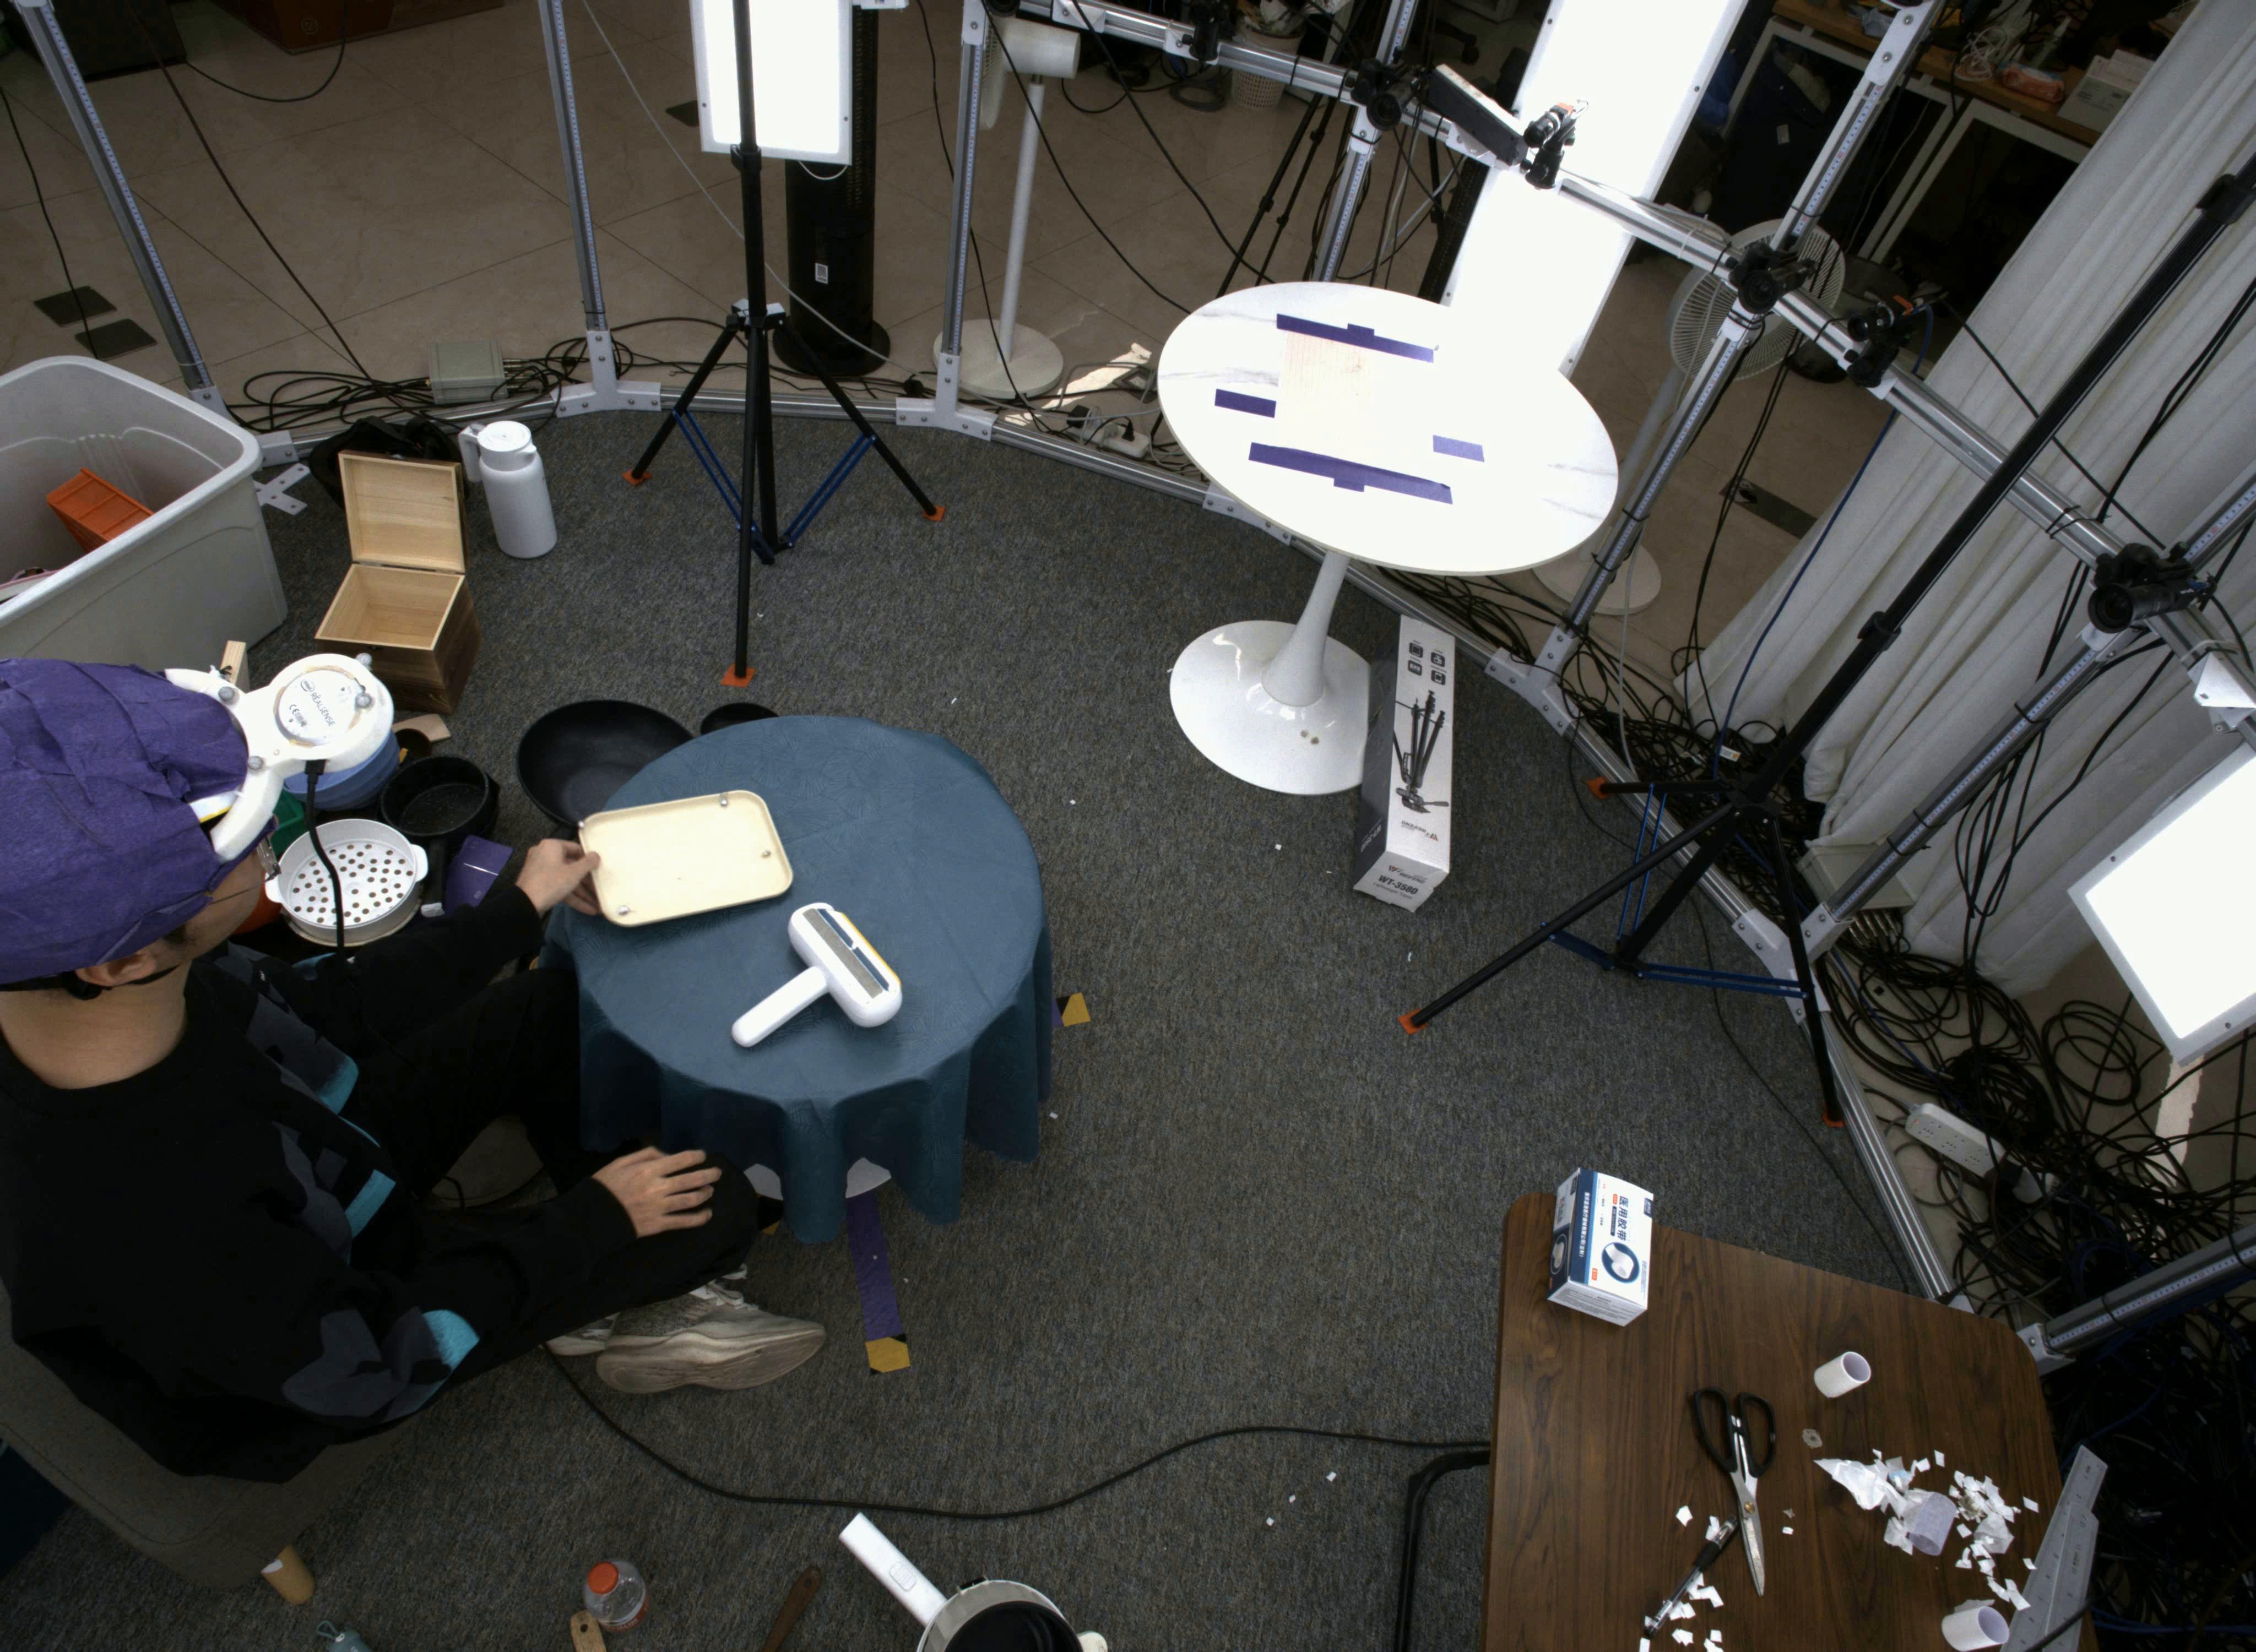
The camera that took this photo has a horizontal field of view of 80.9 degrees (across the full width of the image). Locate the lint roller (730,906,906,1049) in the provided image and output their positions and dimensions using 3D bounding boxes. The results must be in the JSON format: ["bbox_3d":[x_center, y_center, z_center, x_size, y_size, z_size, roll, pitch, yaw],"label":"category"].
[{"bbox_3d":[-0.387,0.197,1.550,0.193,0.076,0.187,-26,58,-27],"label":"lint roller"}]

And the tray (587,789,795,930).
[{"bbox_3d":[-0.555,0.039,1.632,0.242,0.017,0.168,-13,63,-32],"label":"tray"}]
